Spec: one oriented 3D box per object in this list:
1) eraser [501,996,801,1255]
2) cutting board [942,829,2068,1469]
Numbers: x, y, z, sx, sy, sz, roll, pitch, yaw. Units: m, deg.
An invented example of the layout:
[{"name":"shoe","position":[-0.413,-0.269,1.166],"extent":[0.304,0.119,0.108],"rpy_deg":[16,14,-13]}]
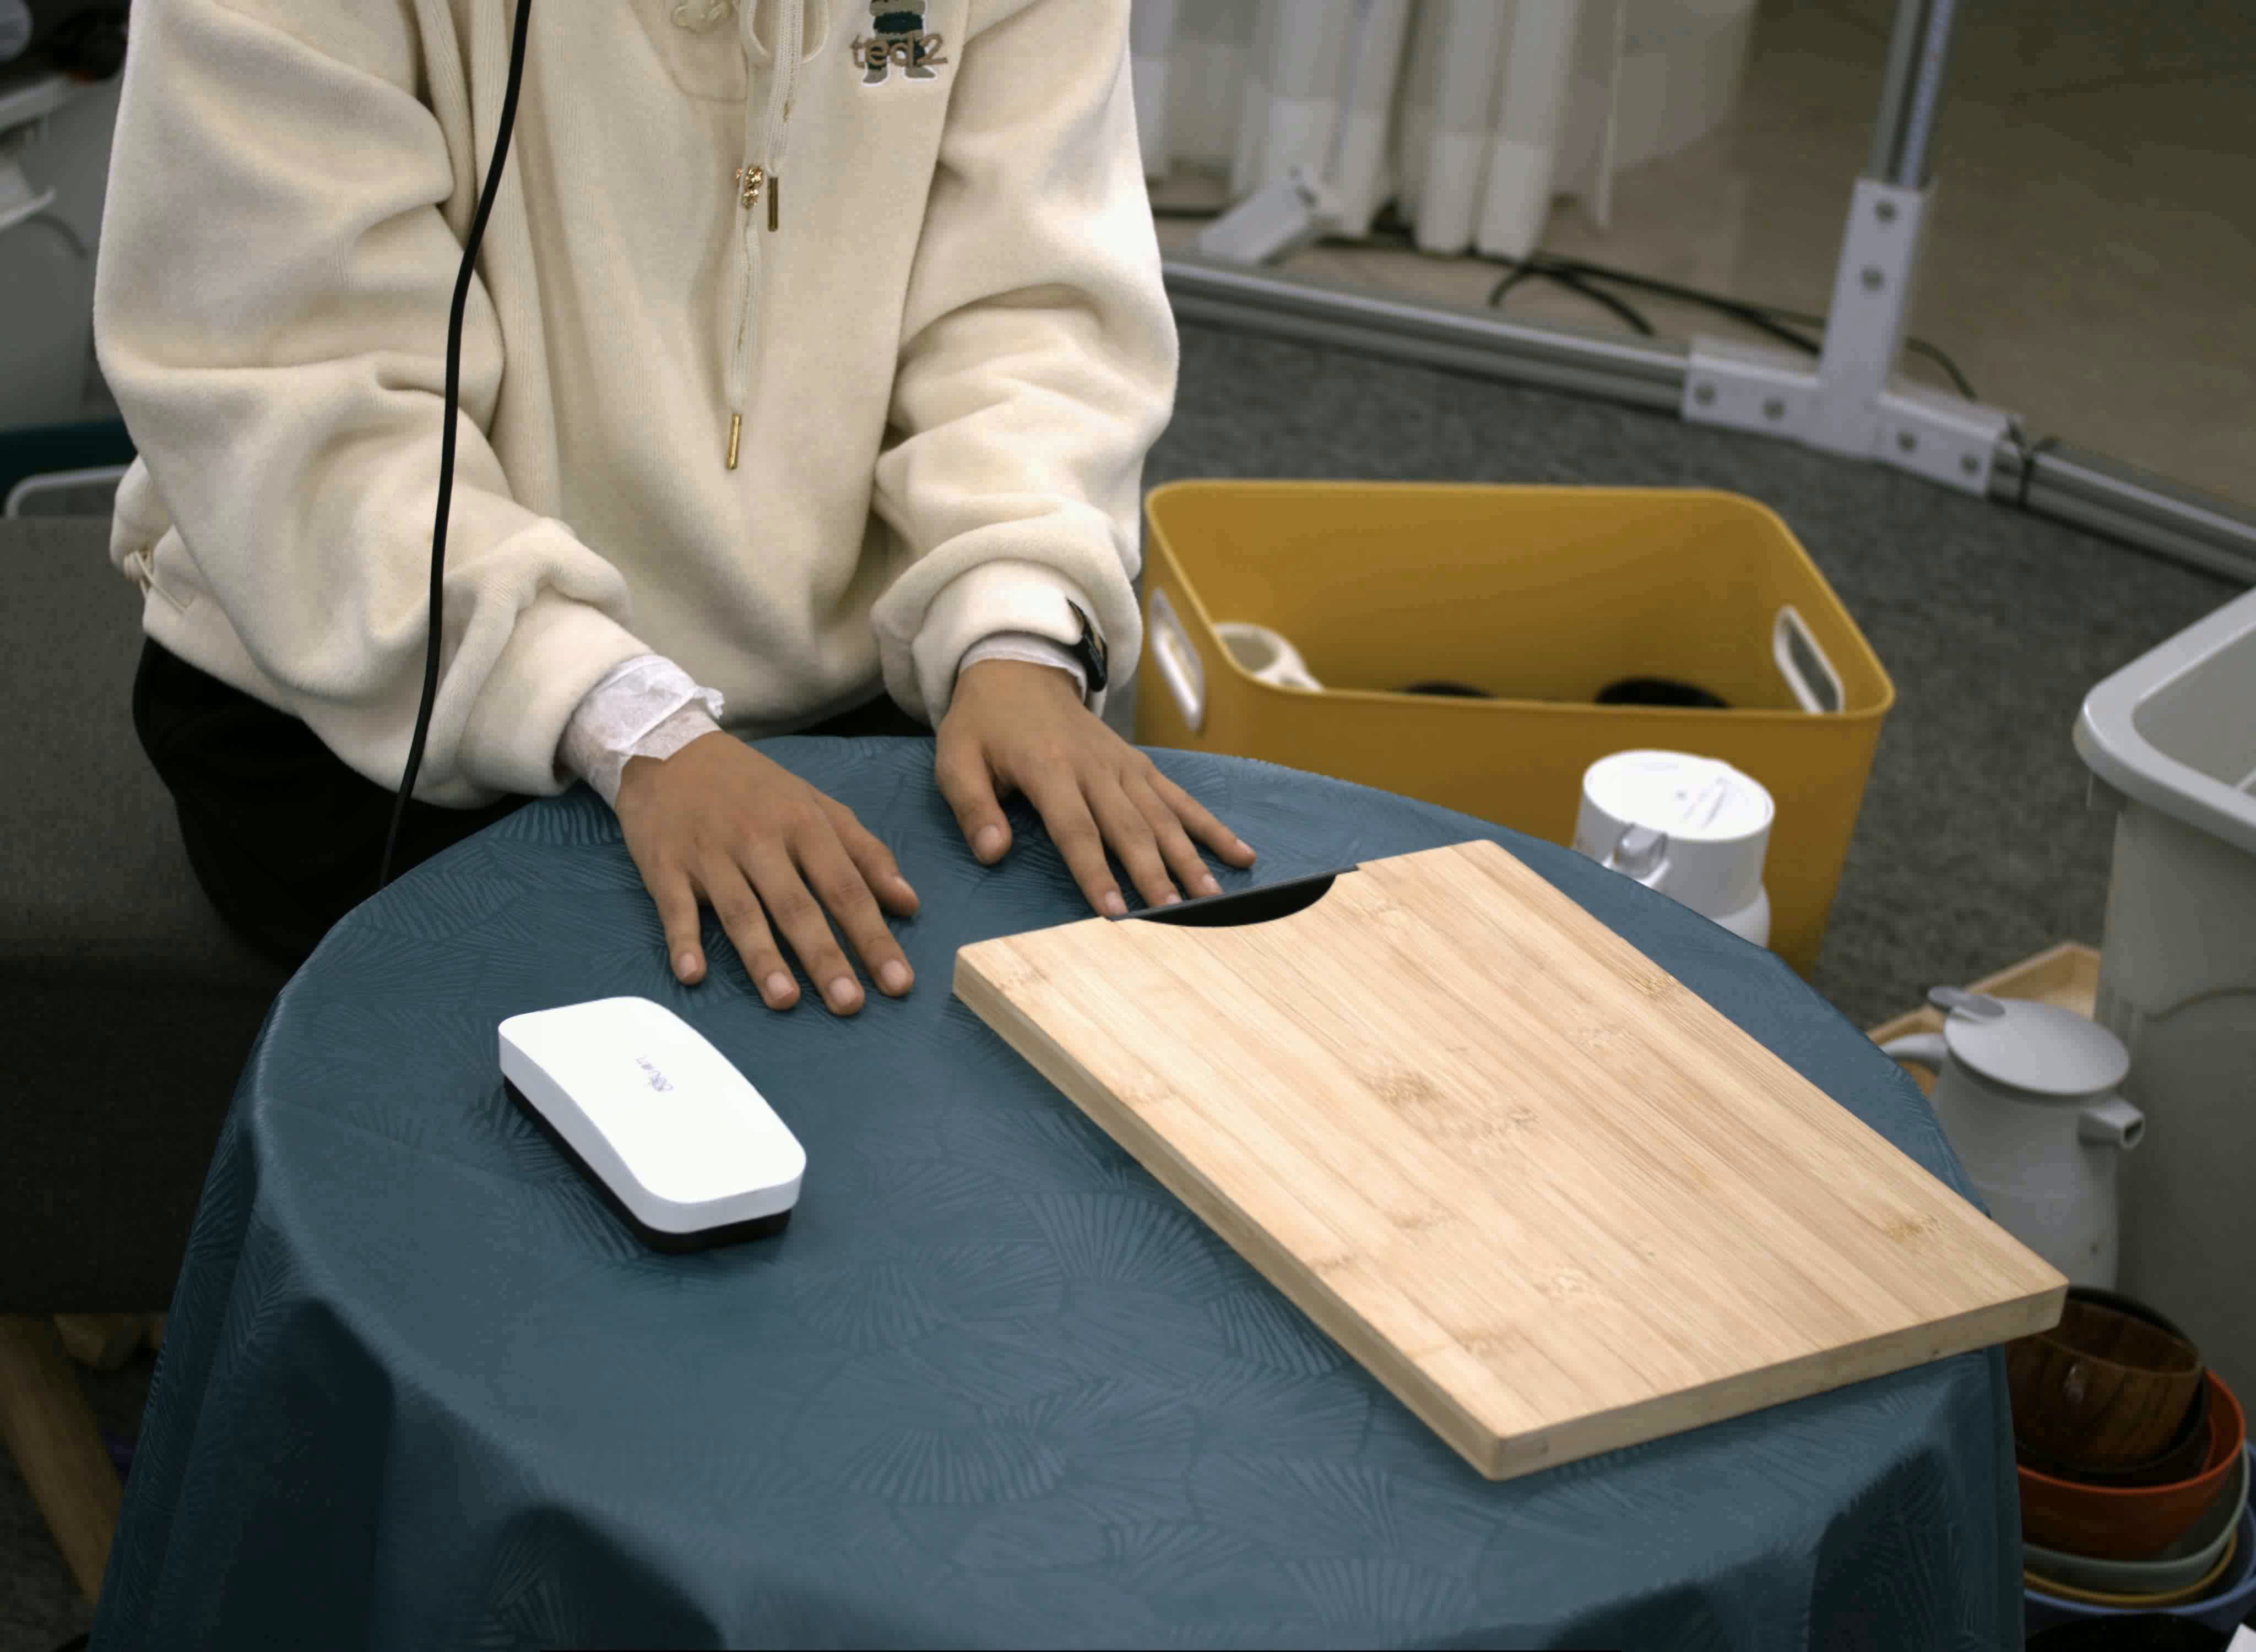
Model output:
[{"name":"eraser","position":[-0.160,0.096,1.786],"extent":[0.063,0.034,0.132],"rpy_deg":[-10,32,-28]},{"name":"cutting board","position":[0.123,0.104,1.851],"extent":[0.249,0.023,0.352],"rpy_deg":[-11,32,-31]}]
